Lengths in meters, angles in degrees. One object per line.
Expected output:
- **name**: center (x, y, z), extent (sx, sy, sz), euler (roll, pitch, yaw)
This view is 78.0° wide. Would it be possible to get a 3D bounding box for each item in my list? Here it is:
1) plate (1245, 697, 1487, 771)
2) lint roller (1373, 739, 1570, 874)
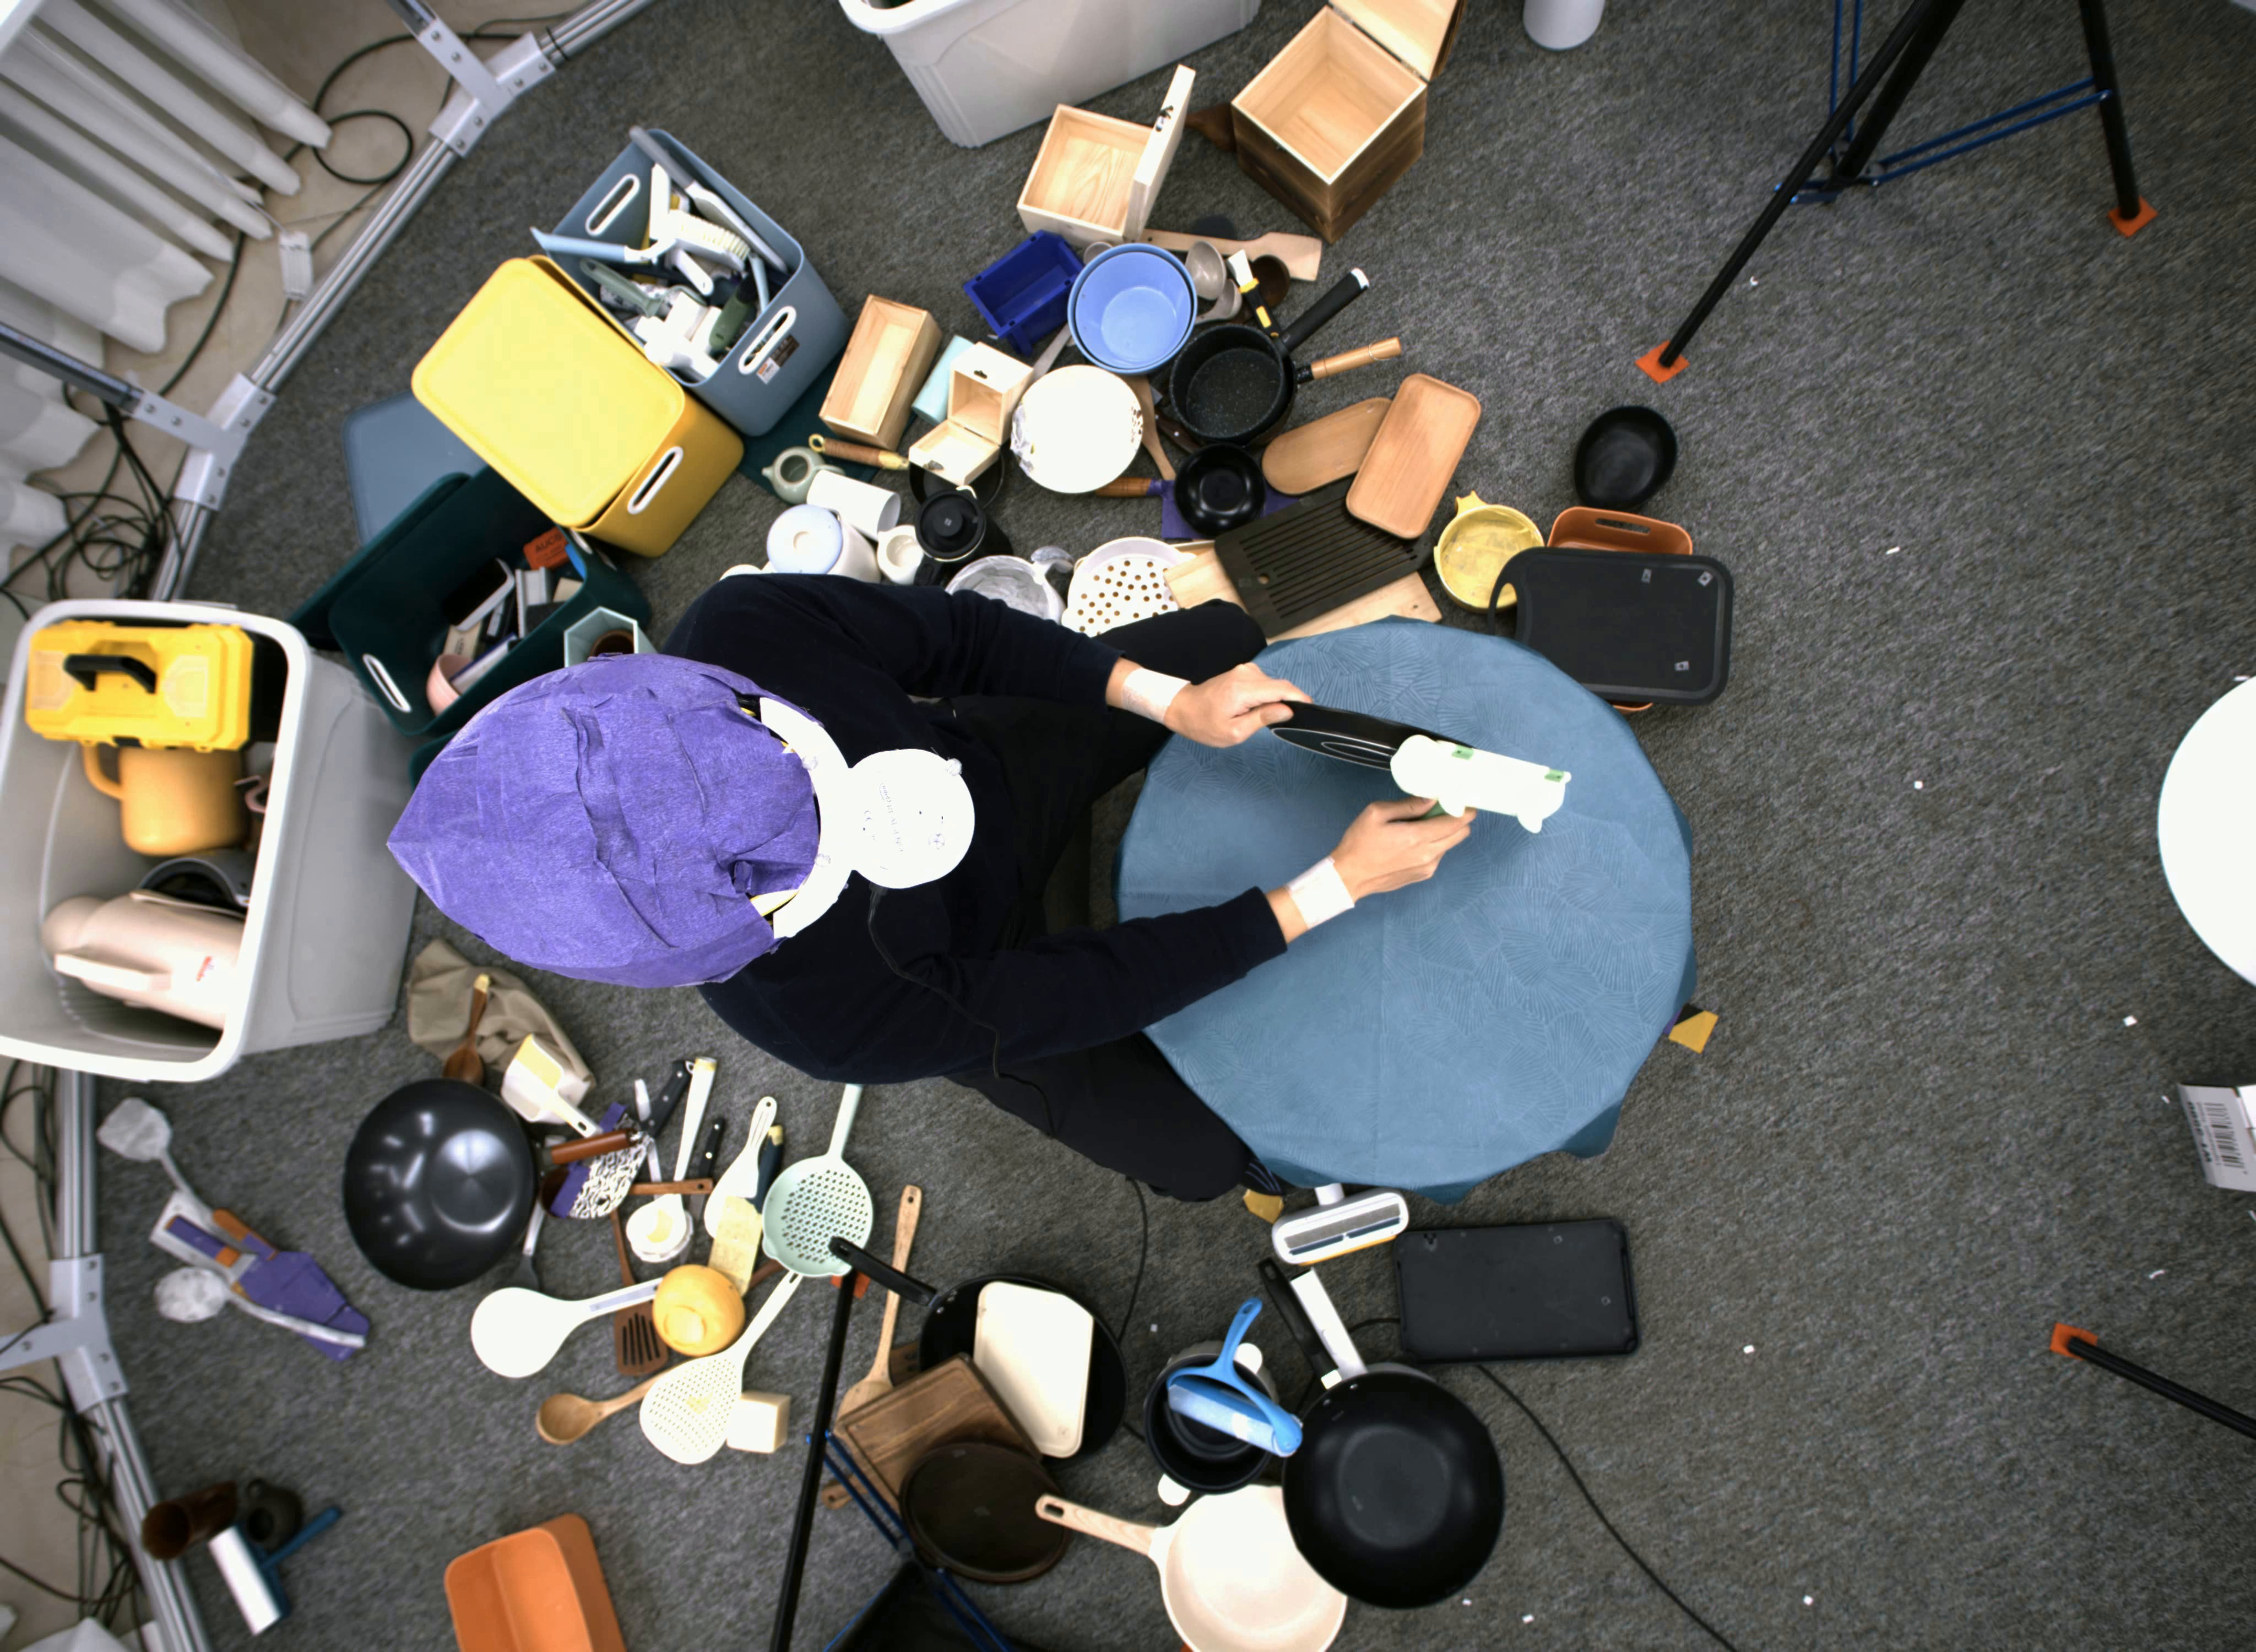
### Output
- **plate**: center (0.231, -0.083, 1.352), extent (0.245, 0.244, 0.023), euler (14, 88, 11)
- **lint roller**: center (0.303, 0.000, 1.303), extent (0.187, 0.198, 0.080), euler (-55, 44, 32)
